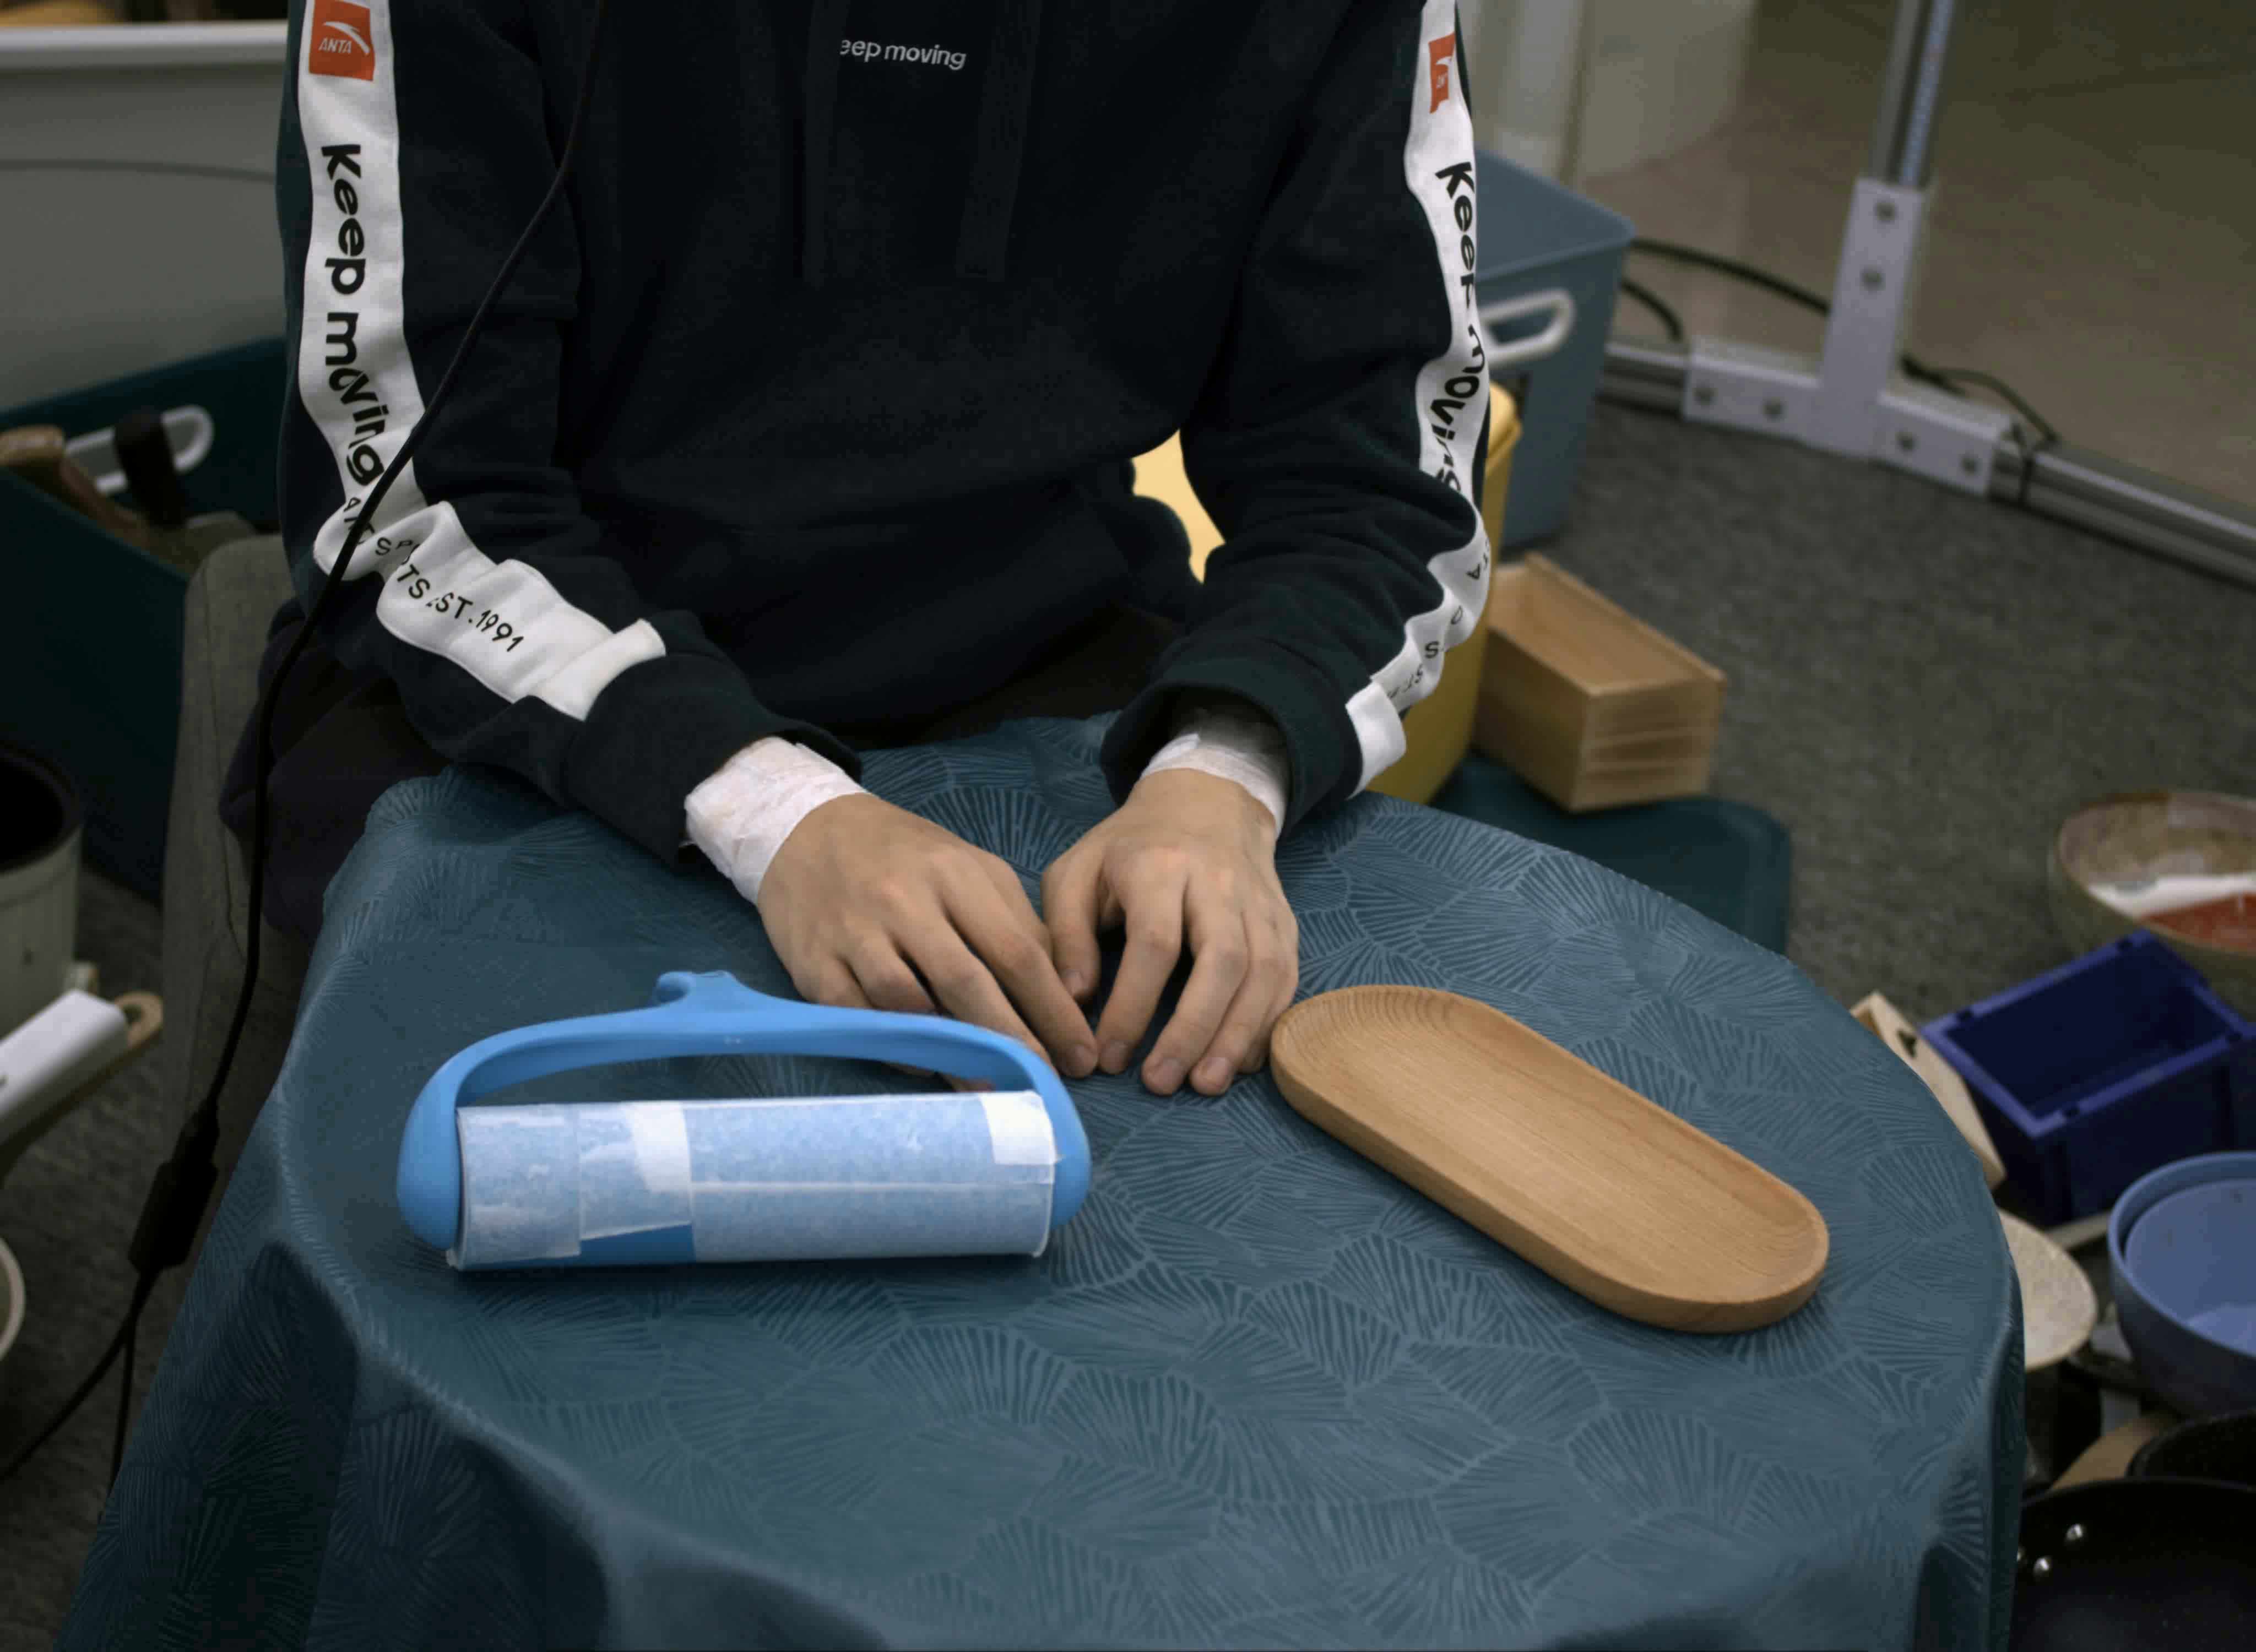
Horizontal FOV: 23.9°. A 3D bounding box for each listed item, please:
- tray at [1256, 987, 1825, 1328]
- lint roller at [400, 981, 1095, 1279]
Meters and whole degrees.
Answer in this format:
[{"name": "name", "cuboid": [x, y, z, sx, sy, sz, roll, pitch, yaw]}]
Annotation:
[{"name": "tray", "cuboid": [0.139, 0.113, 1.834, 0.101, 0.020, 0.233, -17, 33, -40]}, {"name": "lint roller", "cuboid": [-0.138, 0.087, 1.777, 0.227, 0.067, 0.182, -4, 29, -15]}]
